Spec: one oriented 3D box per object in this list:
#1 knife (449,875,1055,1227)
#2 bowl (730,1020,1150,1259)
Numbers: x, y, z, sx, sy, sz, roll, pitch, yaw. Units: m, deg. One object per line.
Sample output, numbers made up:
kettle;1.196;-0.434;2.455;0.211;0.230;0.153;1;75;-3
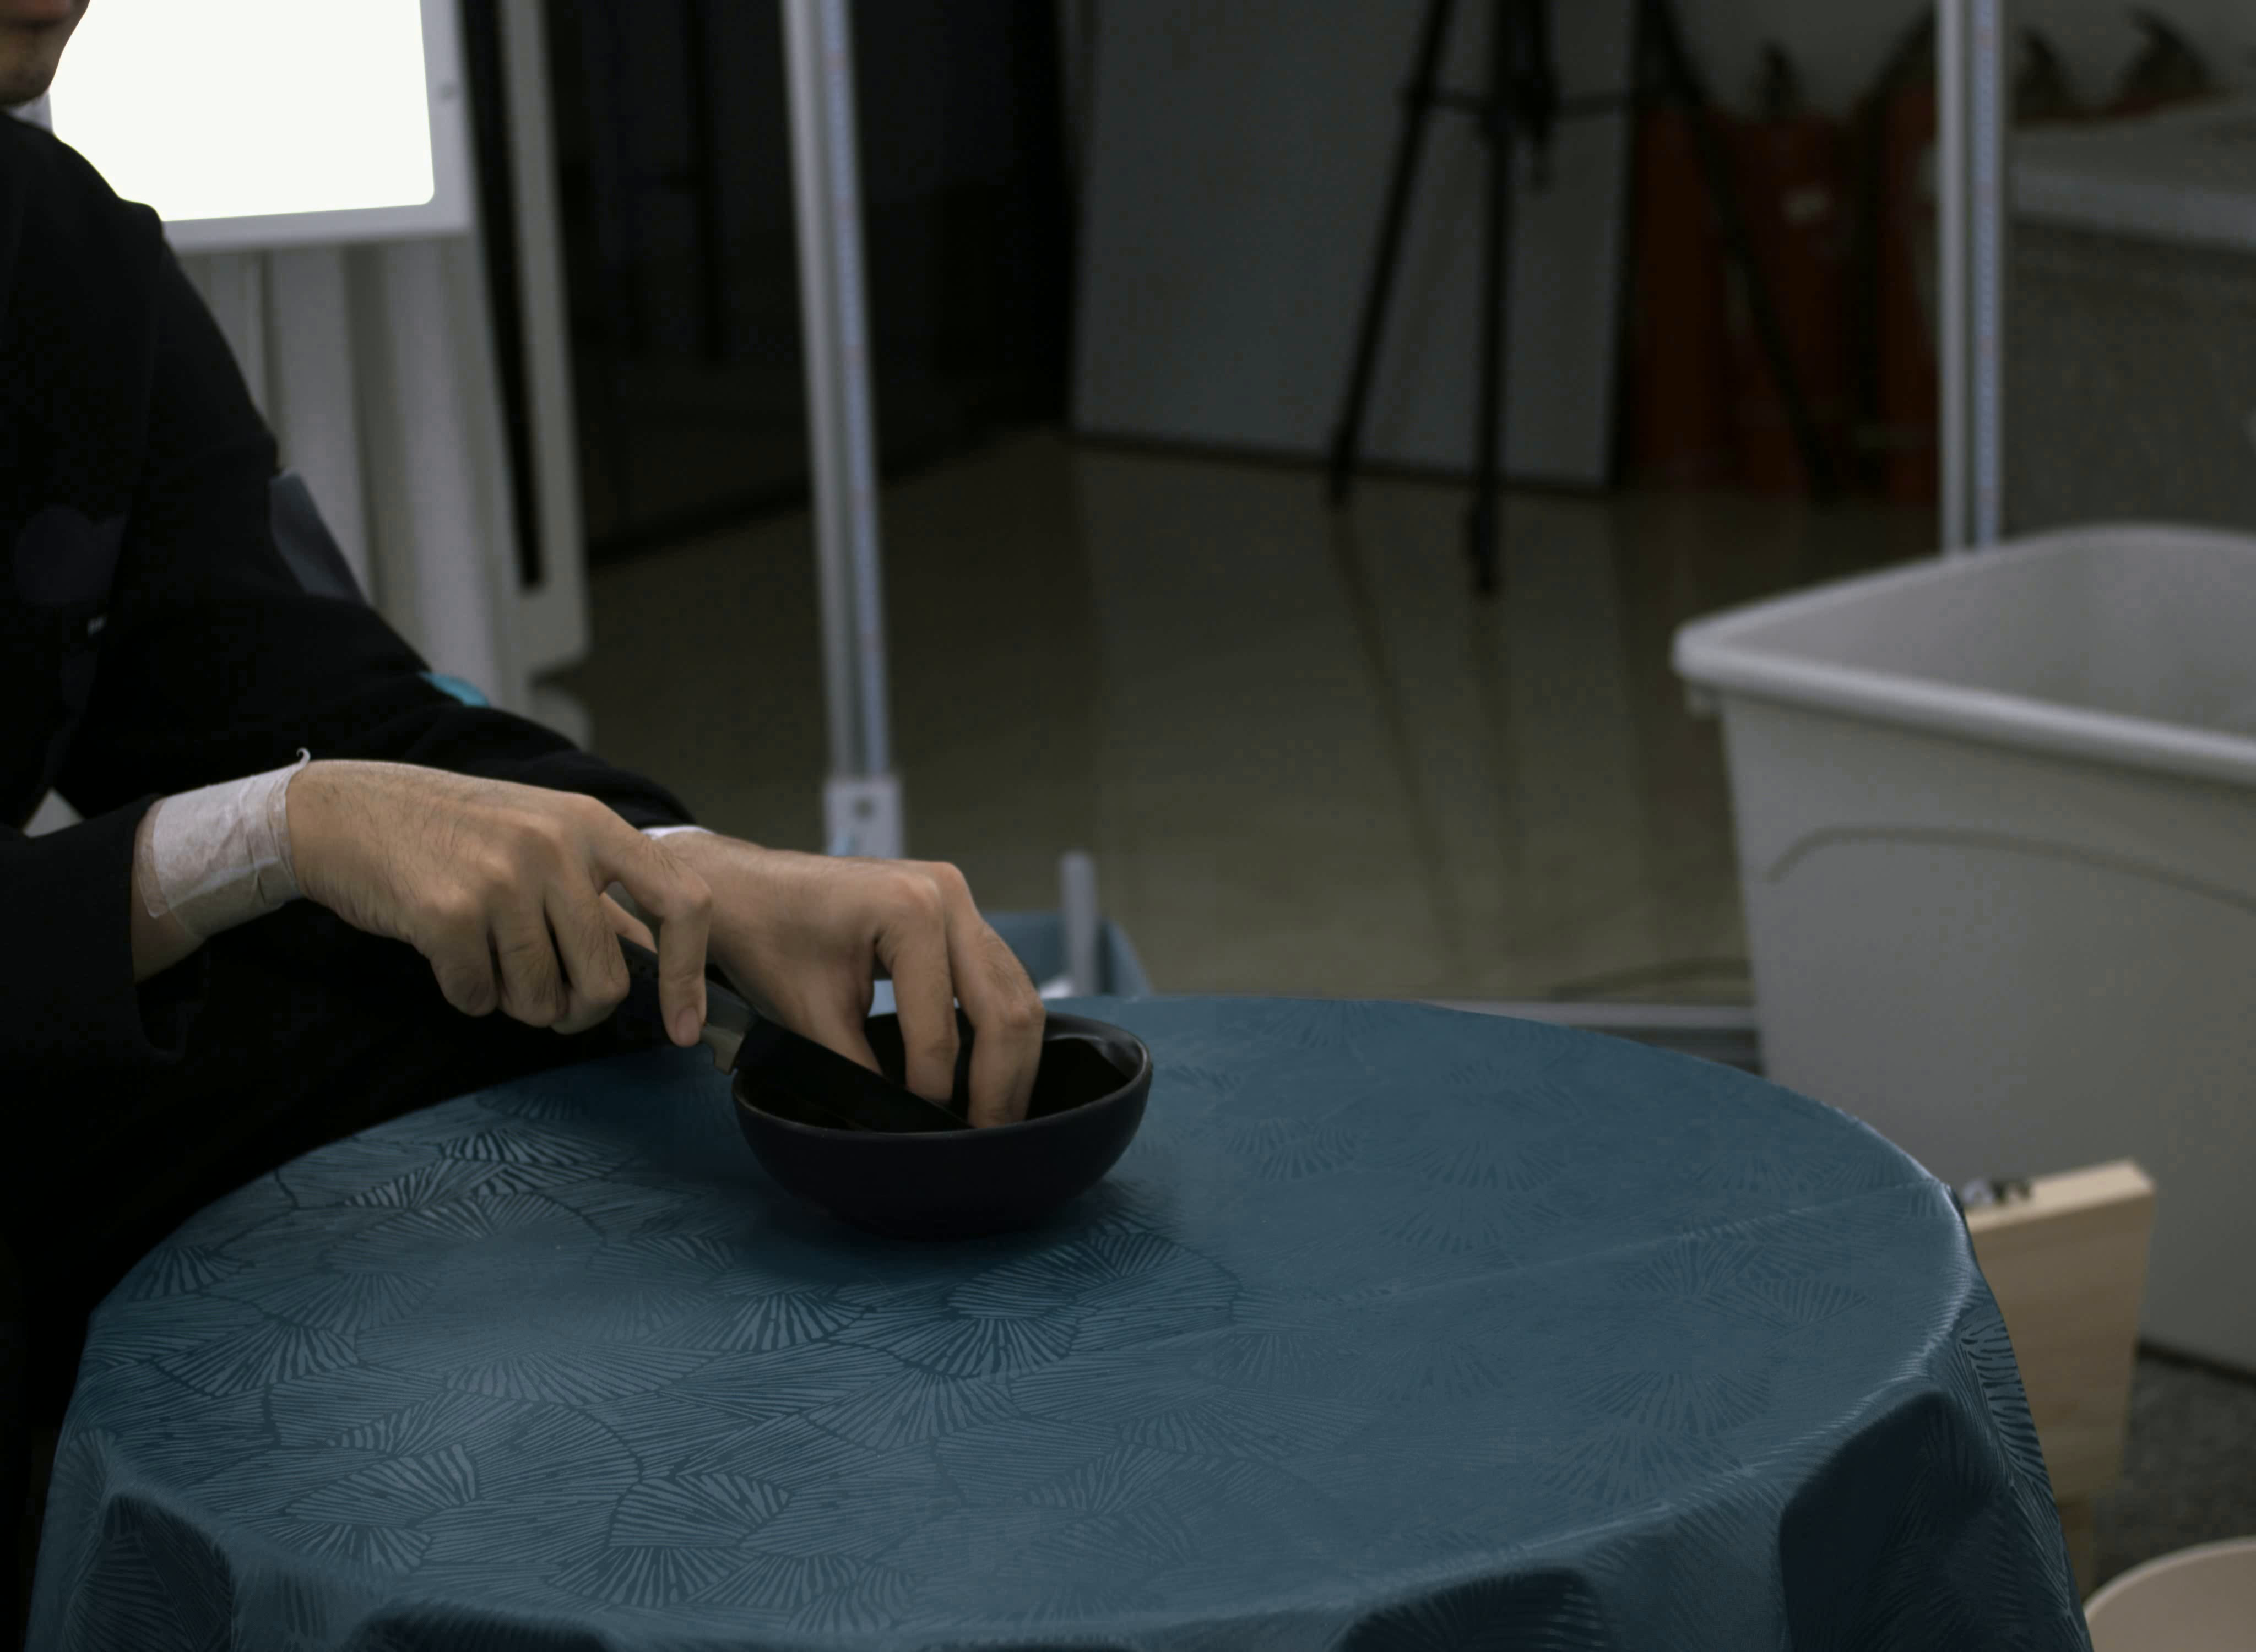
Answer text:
knife;-0.120;0.073;1.753;0.223;0.026;0.017;27;24;-1
bowl;-0.058;0.106;1.758;0.138;0.050;0.140;-8;13;1
